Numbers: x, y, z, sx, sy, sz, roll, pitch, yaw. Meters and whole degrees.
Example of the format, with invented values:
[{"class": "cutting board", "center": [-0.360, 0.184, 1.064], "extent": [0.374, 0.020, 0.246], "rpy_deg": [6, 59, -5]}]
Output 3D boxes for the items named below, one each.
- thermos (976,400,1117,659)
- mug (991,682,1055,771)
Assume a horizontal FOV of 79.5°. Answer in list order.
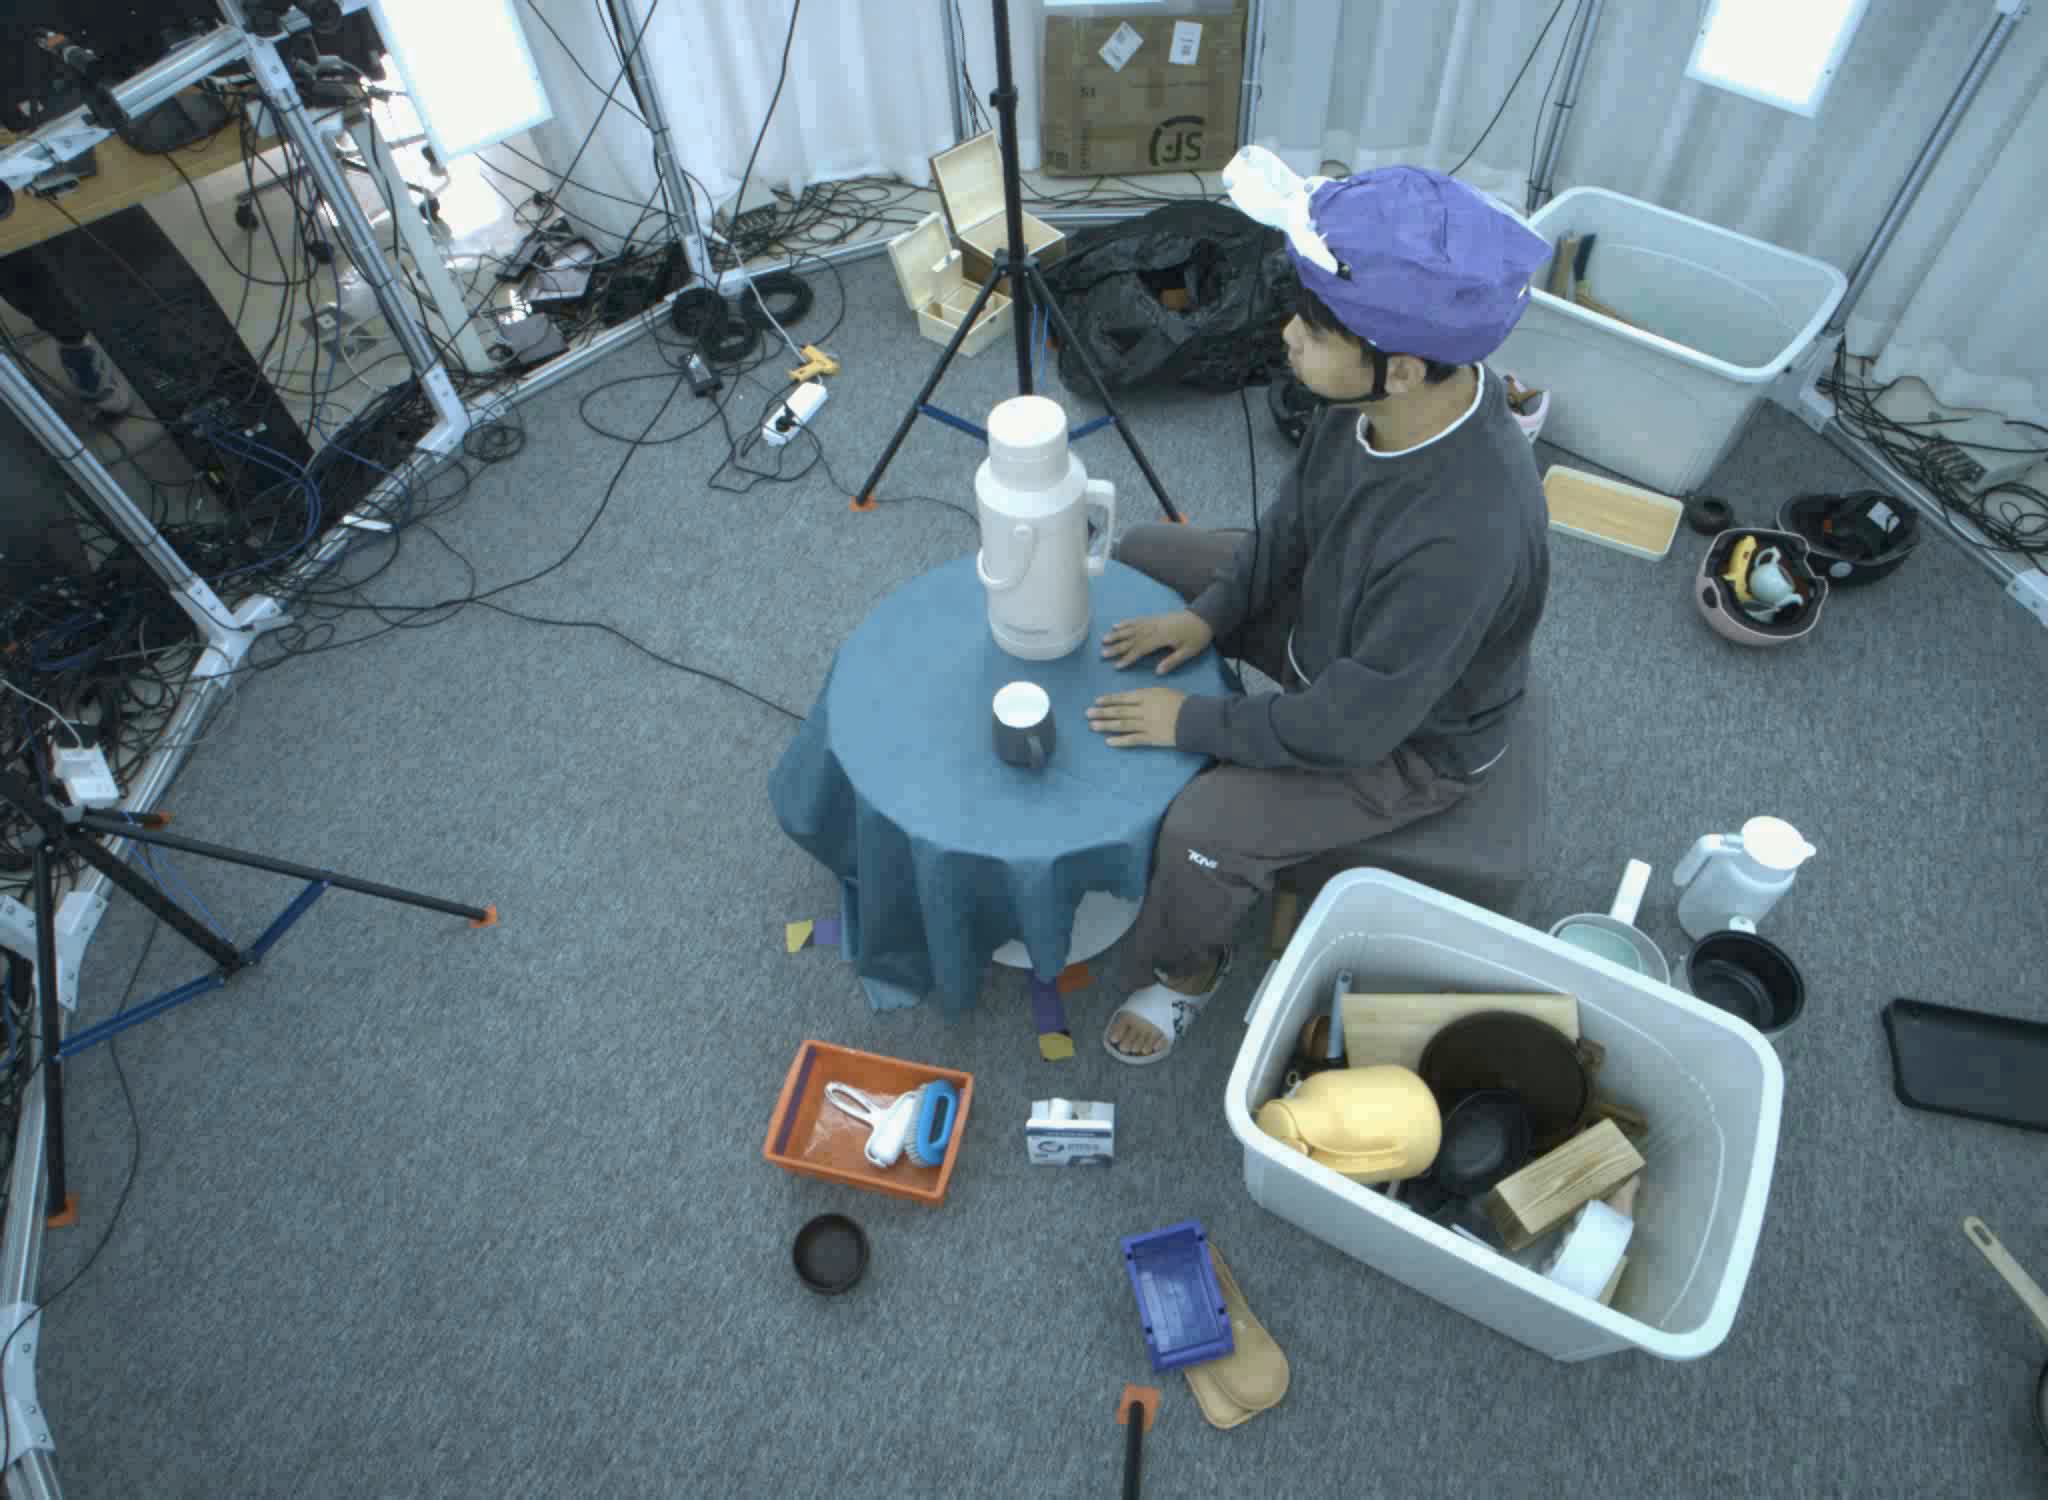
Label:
[{"class": "thermos", "center": [0.029, -0.315, 1.765], "extent": [0.206, 0.411, 0.174], "rpy_deg": [3, 54, 7]}, {"class": "mug", "center": [0.002, -0.027, 1.751], "extent": [0.094, 0.091, 0.121], "rpy_deg": [-16, 55, -9]}]
